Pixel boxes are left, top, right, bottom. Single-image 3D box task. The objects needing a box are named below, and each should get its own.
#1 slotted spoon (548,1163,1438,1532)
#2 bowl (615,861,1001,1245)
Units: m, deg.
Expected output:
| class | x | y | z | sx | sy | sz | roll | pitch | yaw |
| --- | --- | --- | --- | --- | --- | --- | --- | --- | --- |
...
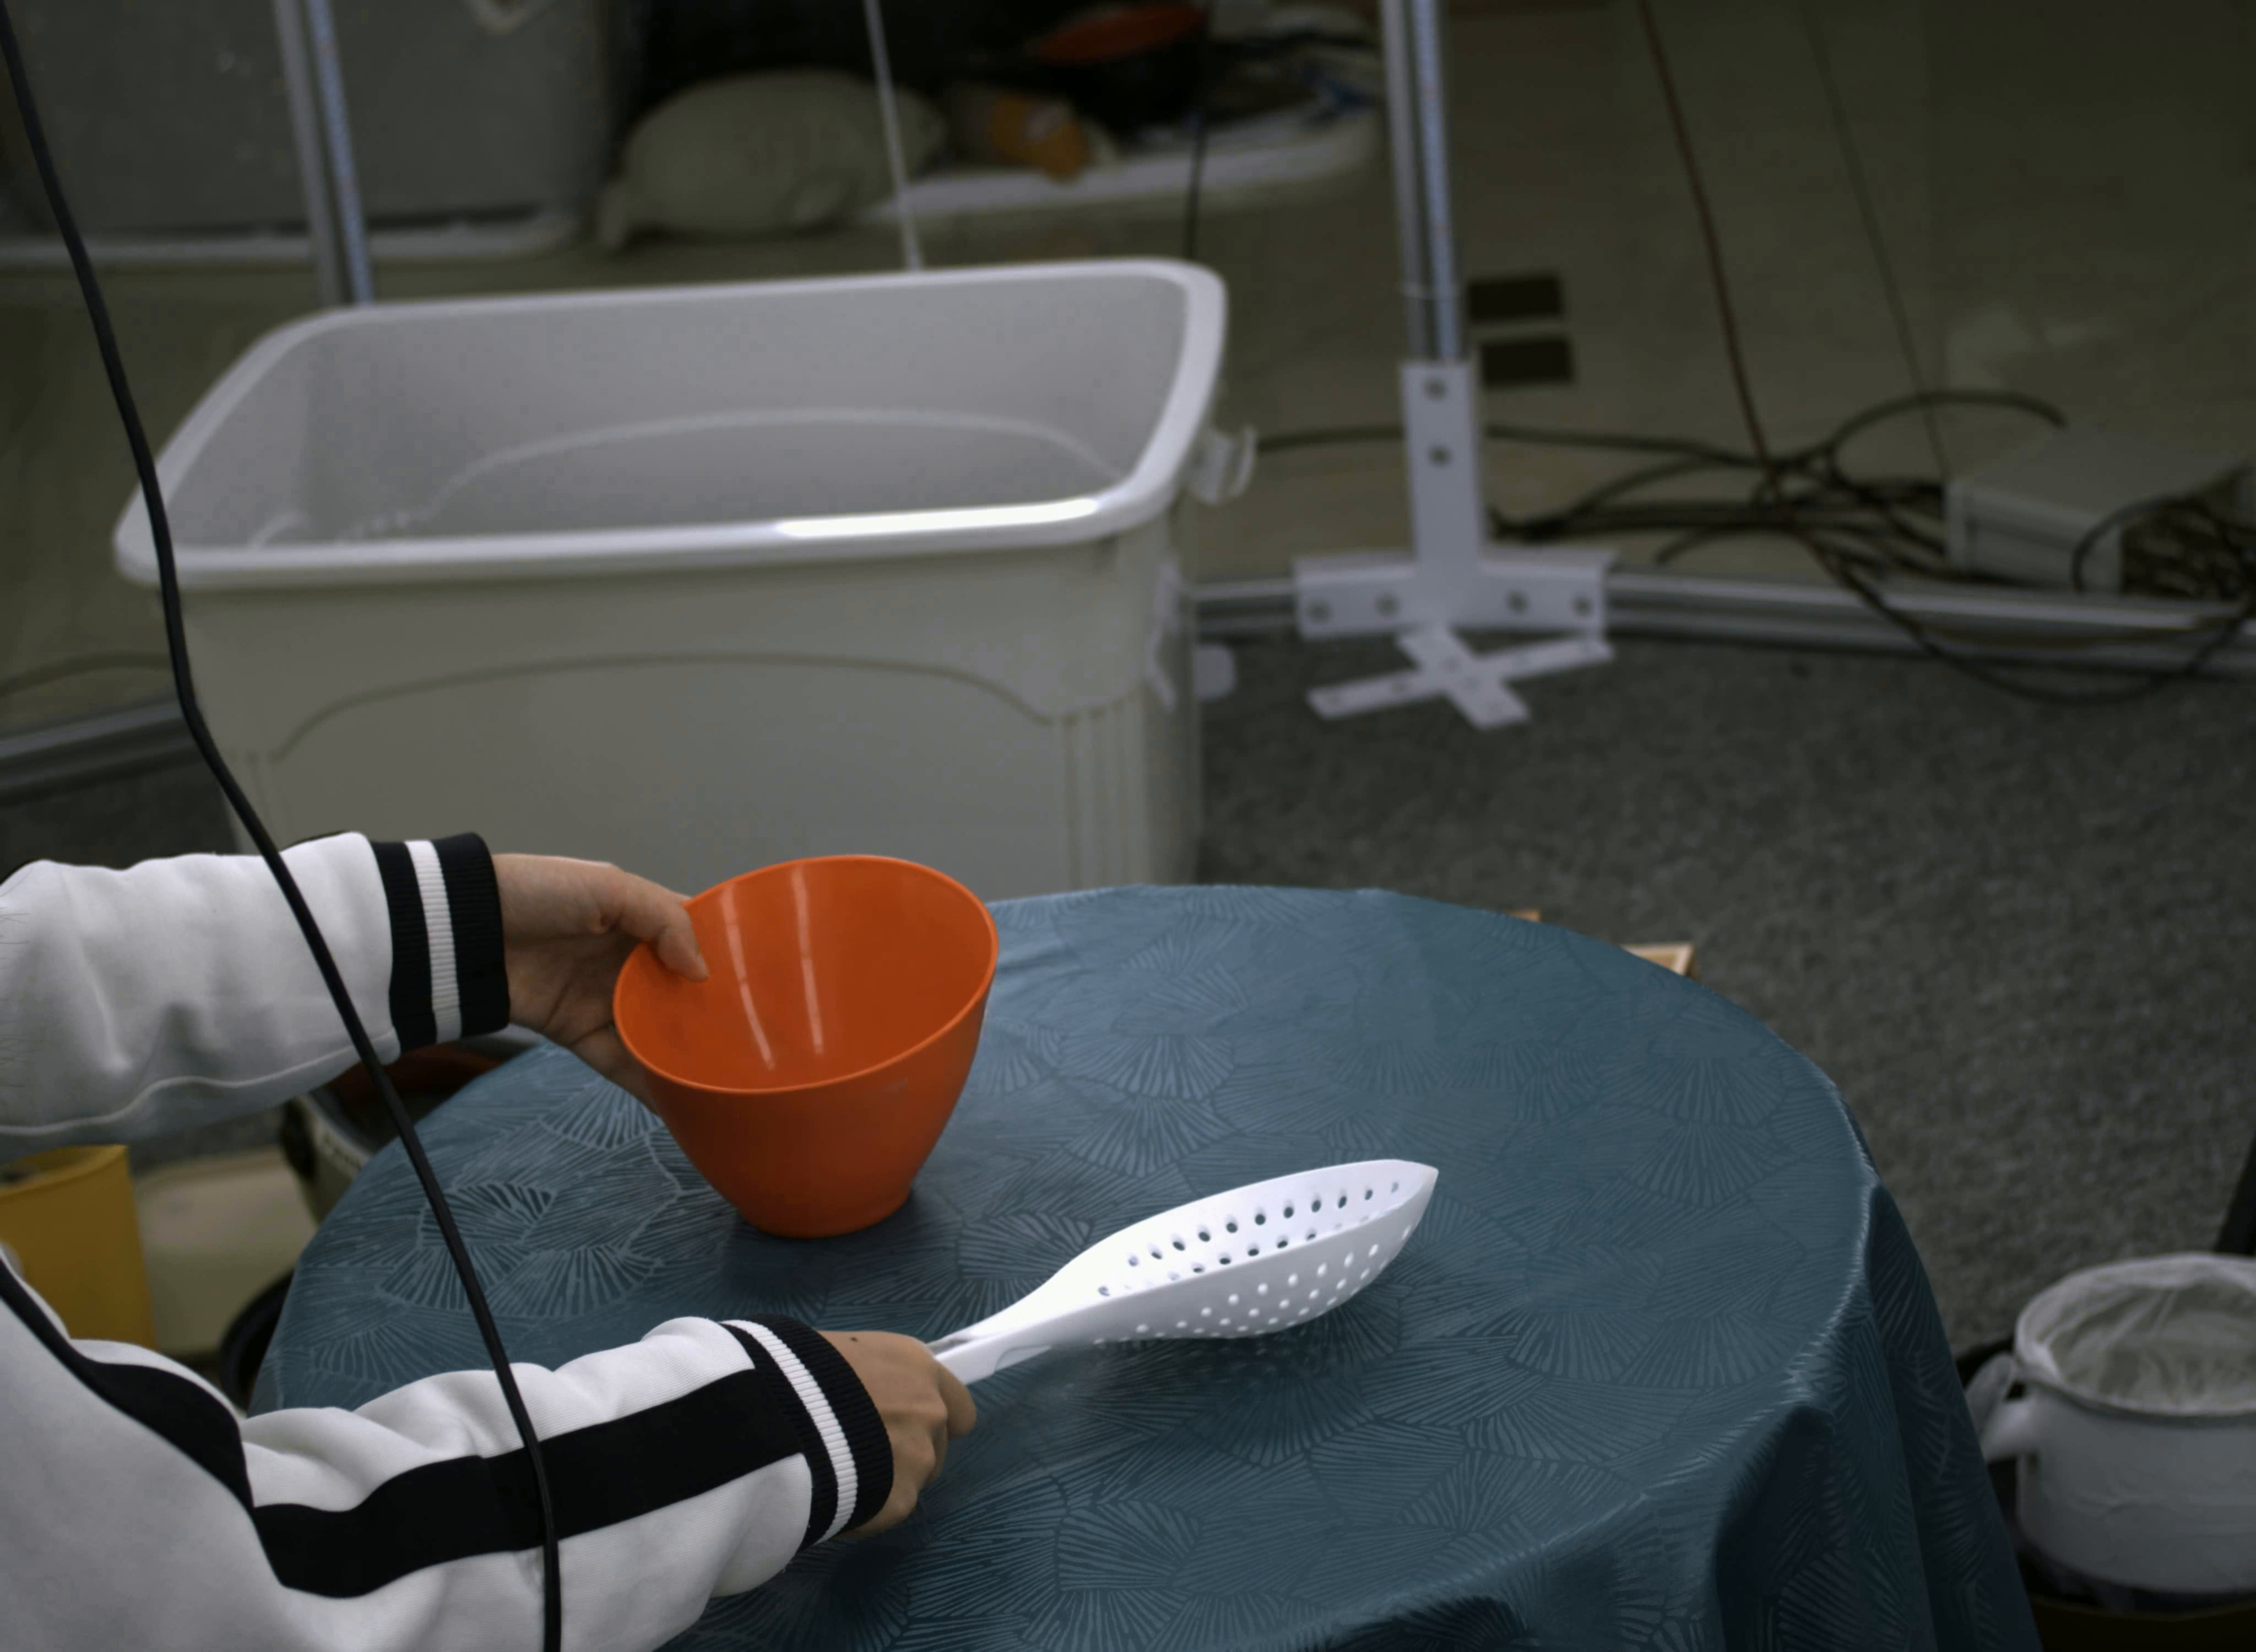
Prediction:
| class | x | y | z | sx | sy | sz | roll | pitch | yaw |
| --- | --- | --- | --- | --- | --- | --- | --- | --- | --- |
| slotted spoon | -0.043 | 0.180 | 1.981 | 0.348 | 0.046 | 0.136 | -13 | 5 | -28 |
| bowl | -0.117 | 0.093 | 2.157 | 0.148 | 0.106 | 0.146 | -4 | 27 | 2 |
